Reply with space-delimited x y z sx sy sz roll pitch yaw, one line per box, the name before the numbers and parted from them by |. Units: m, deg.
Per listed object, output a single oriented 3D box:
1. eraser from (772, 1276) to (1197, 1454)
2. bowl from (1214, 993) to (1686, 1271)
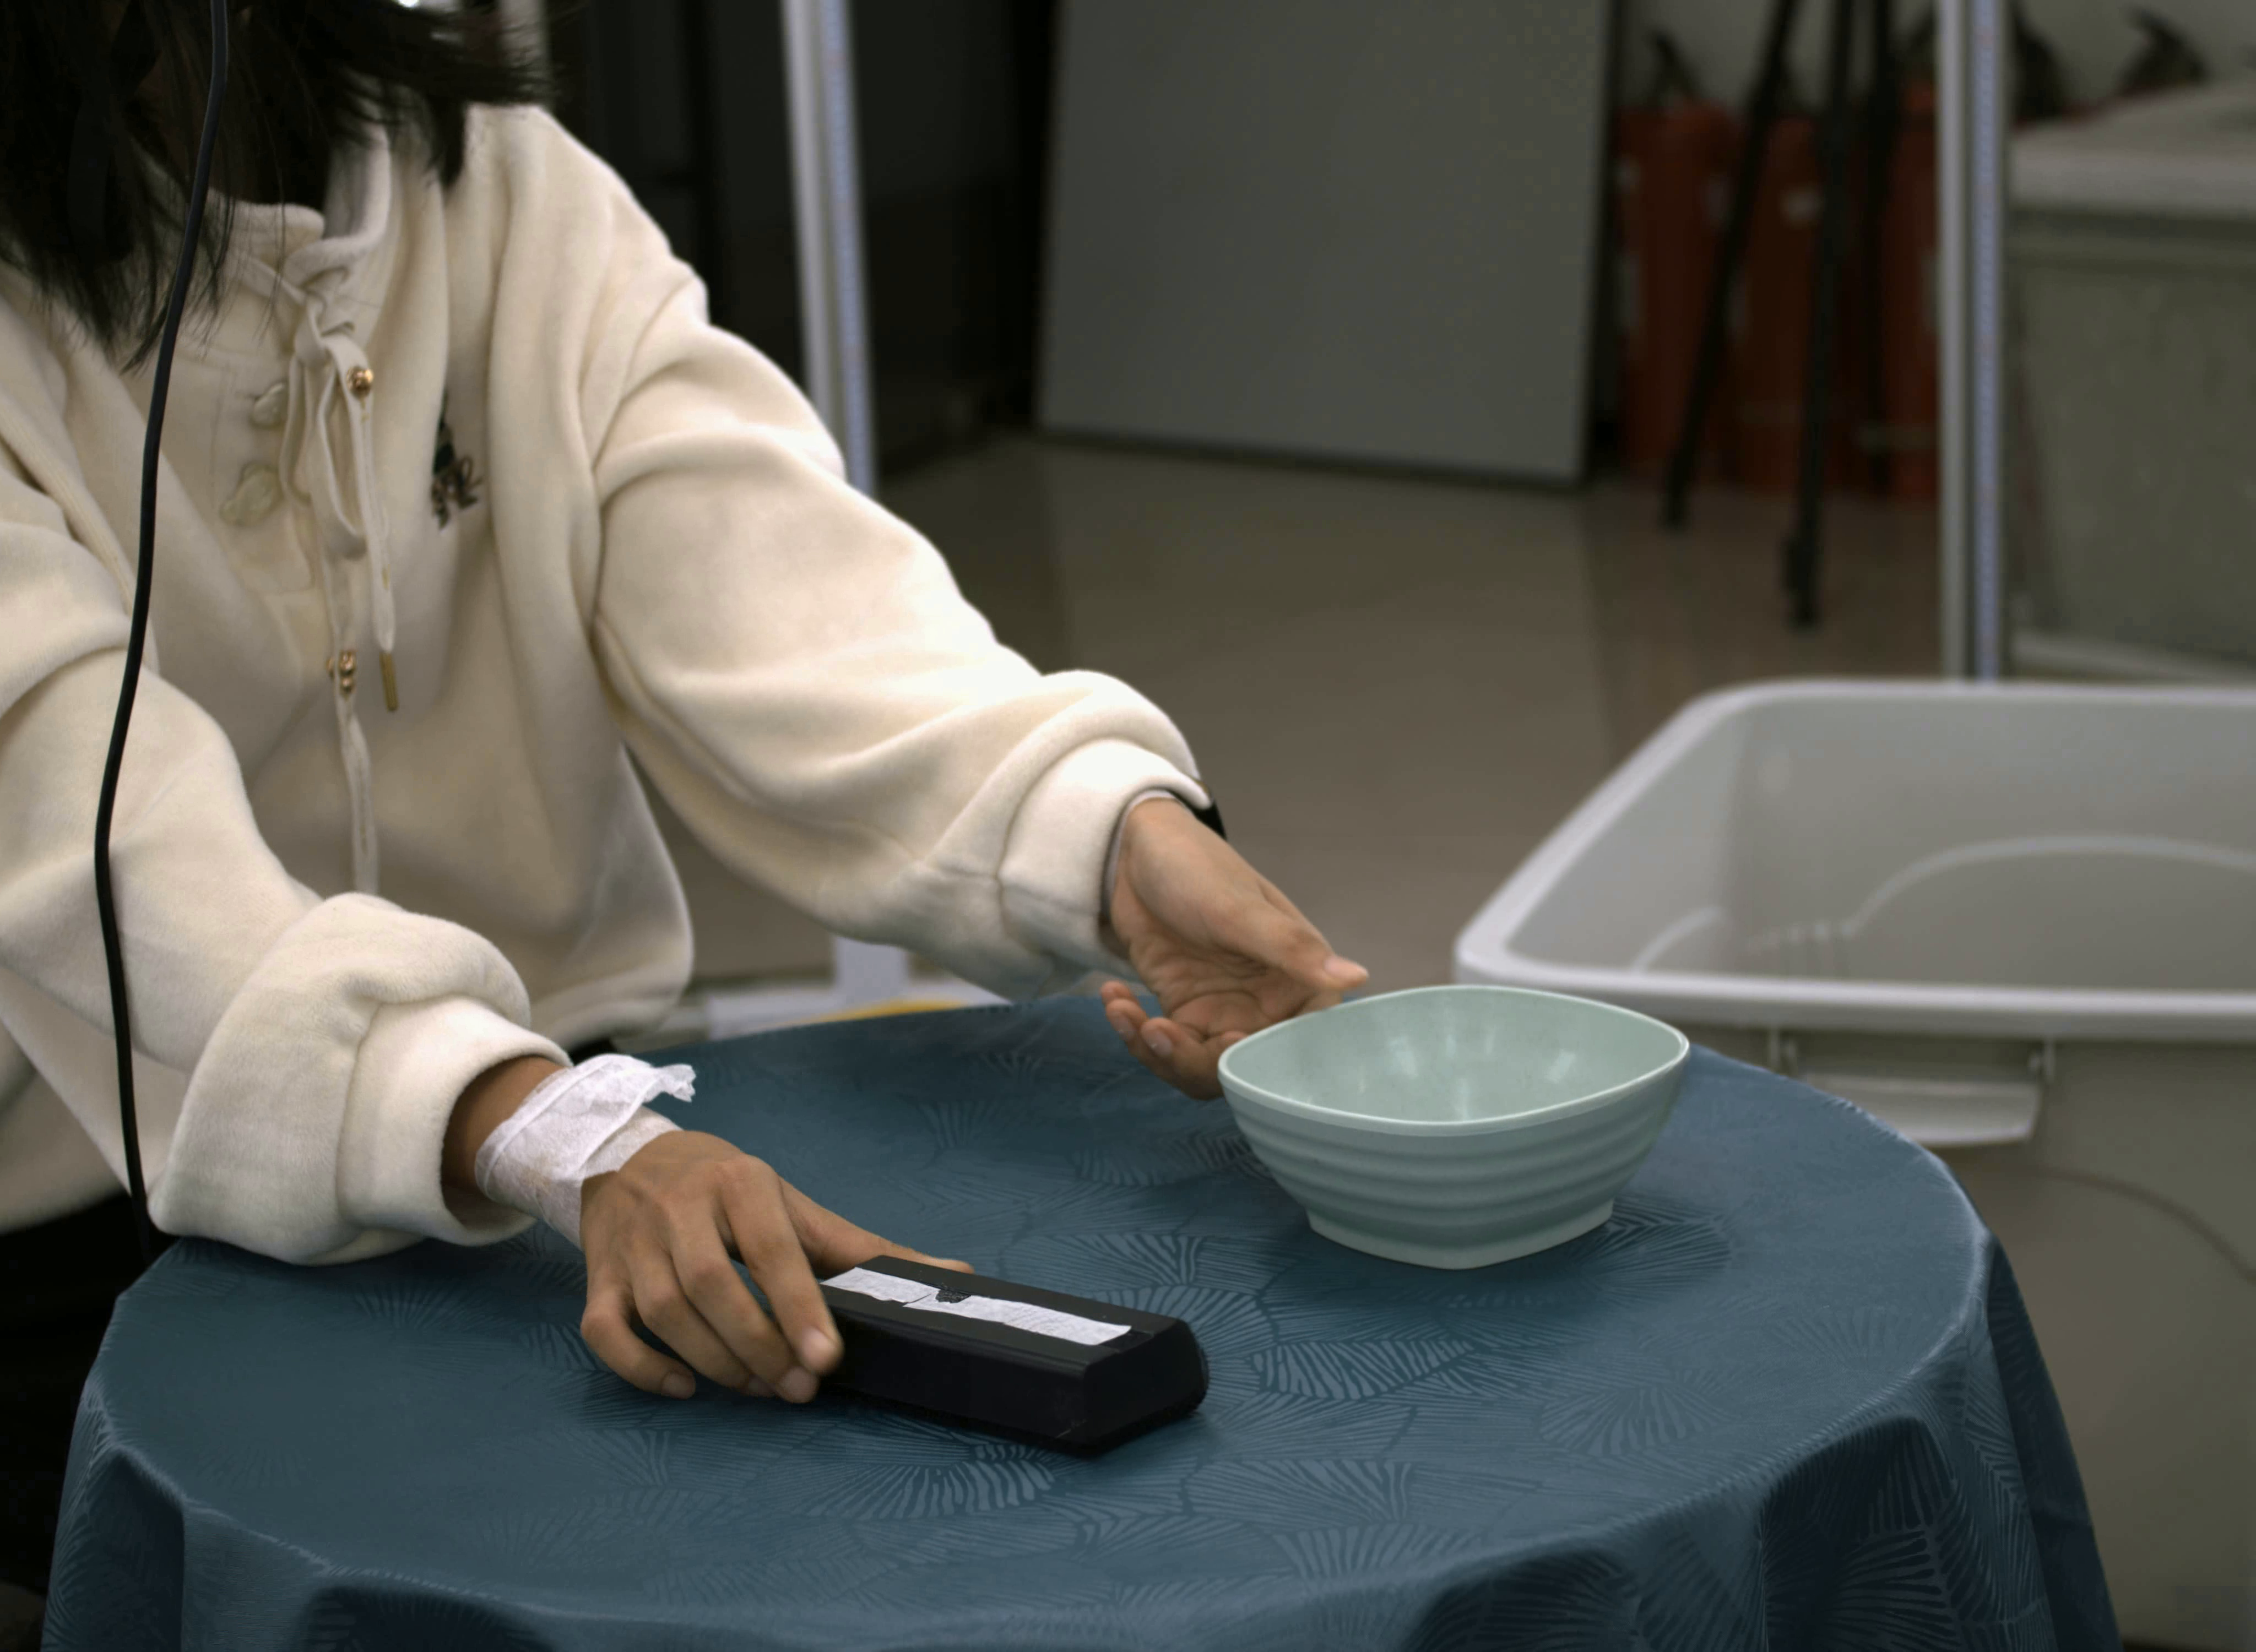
eraser | -0.041 0.157 1.581 0.126 0.031 0.052 4 14 40
bowl | 0.102 0.099 1.709 0.149 0.059 0.151 -2 12 -1
